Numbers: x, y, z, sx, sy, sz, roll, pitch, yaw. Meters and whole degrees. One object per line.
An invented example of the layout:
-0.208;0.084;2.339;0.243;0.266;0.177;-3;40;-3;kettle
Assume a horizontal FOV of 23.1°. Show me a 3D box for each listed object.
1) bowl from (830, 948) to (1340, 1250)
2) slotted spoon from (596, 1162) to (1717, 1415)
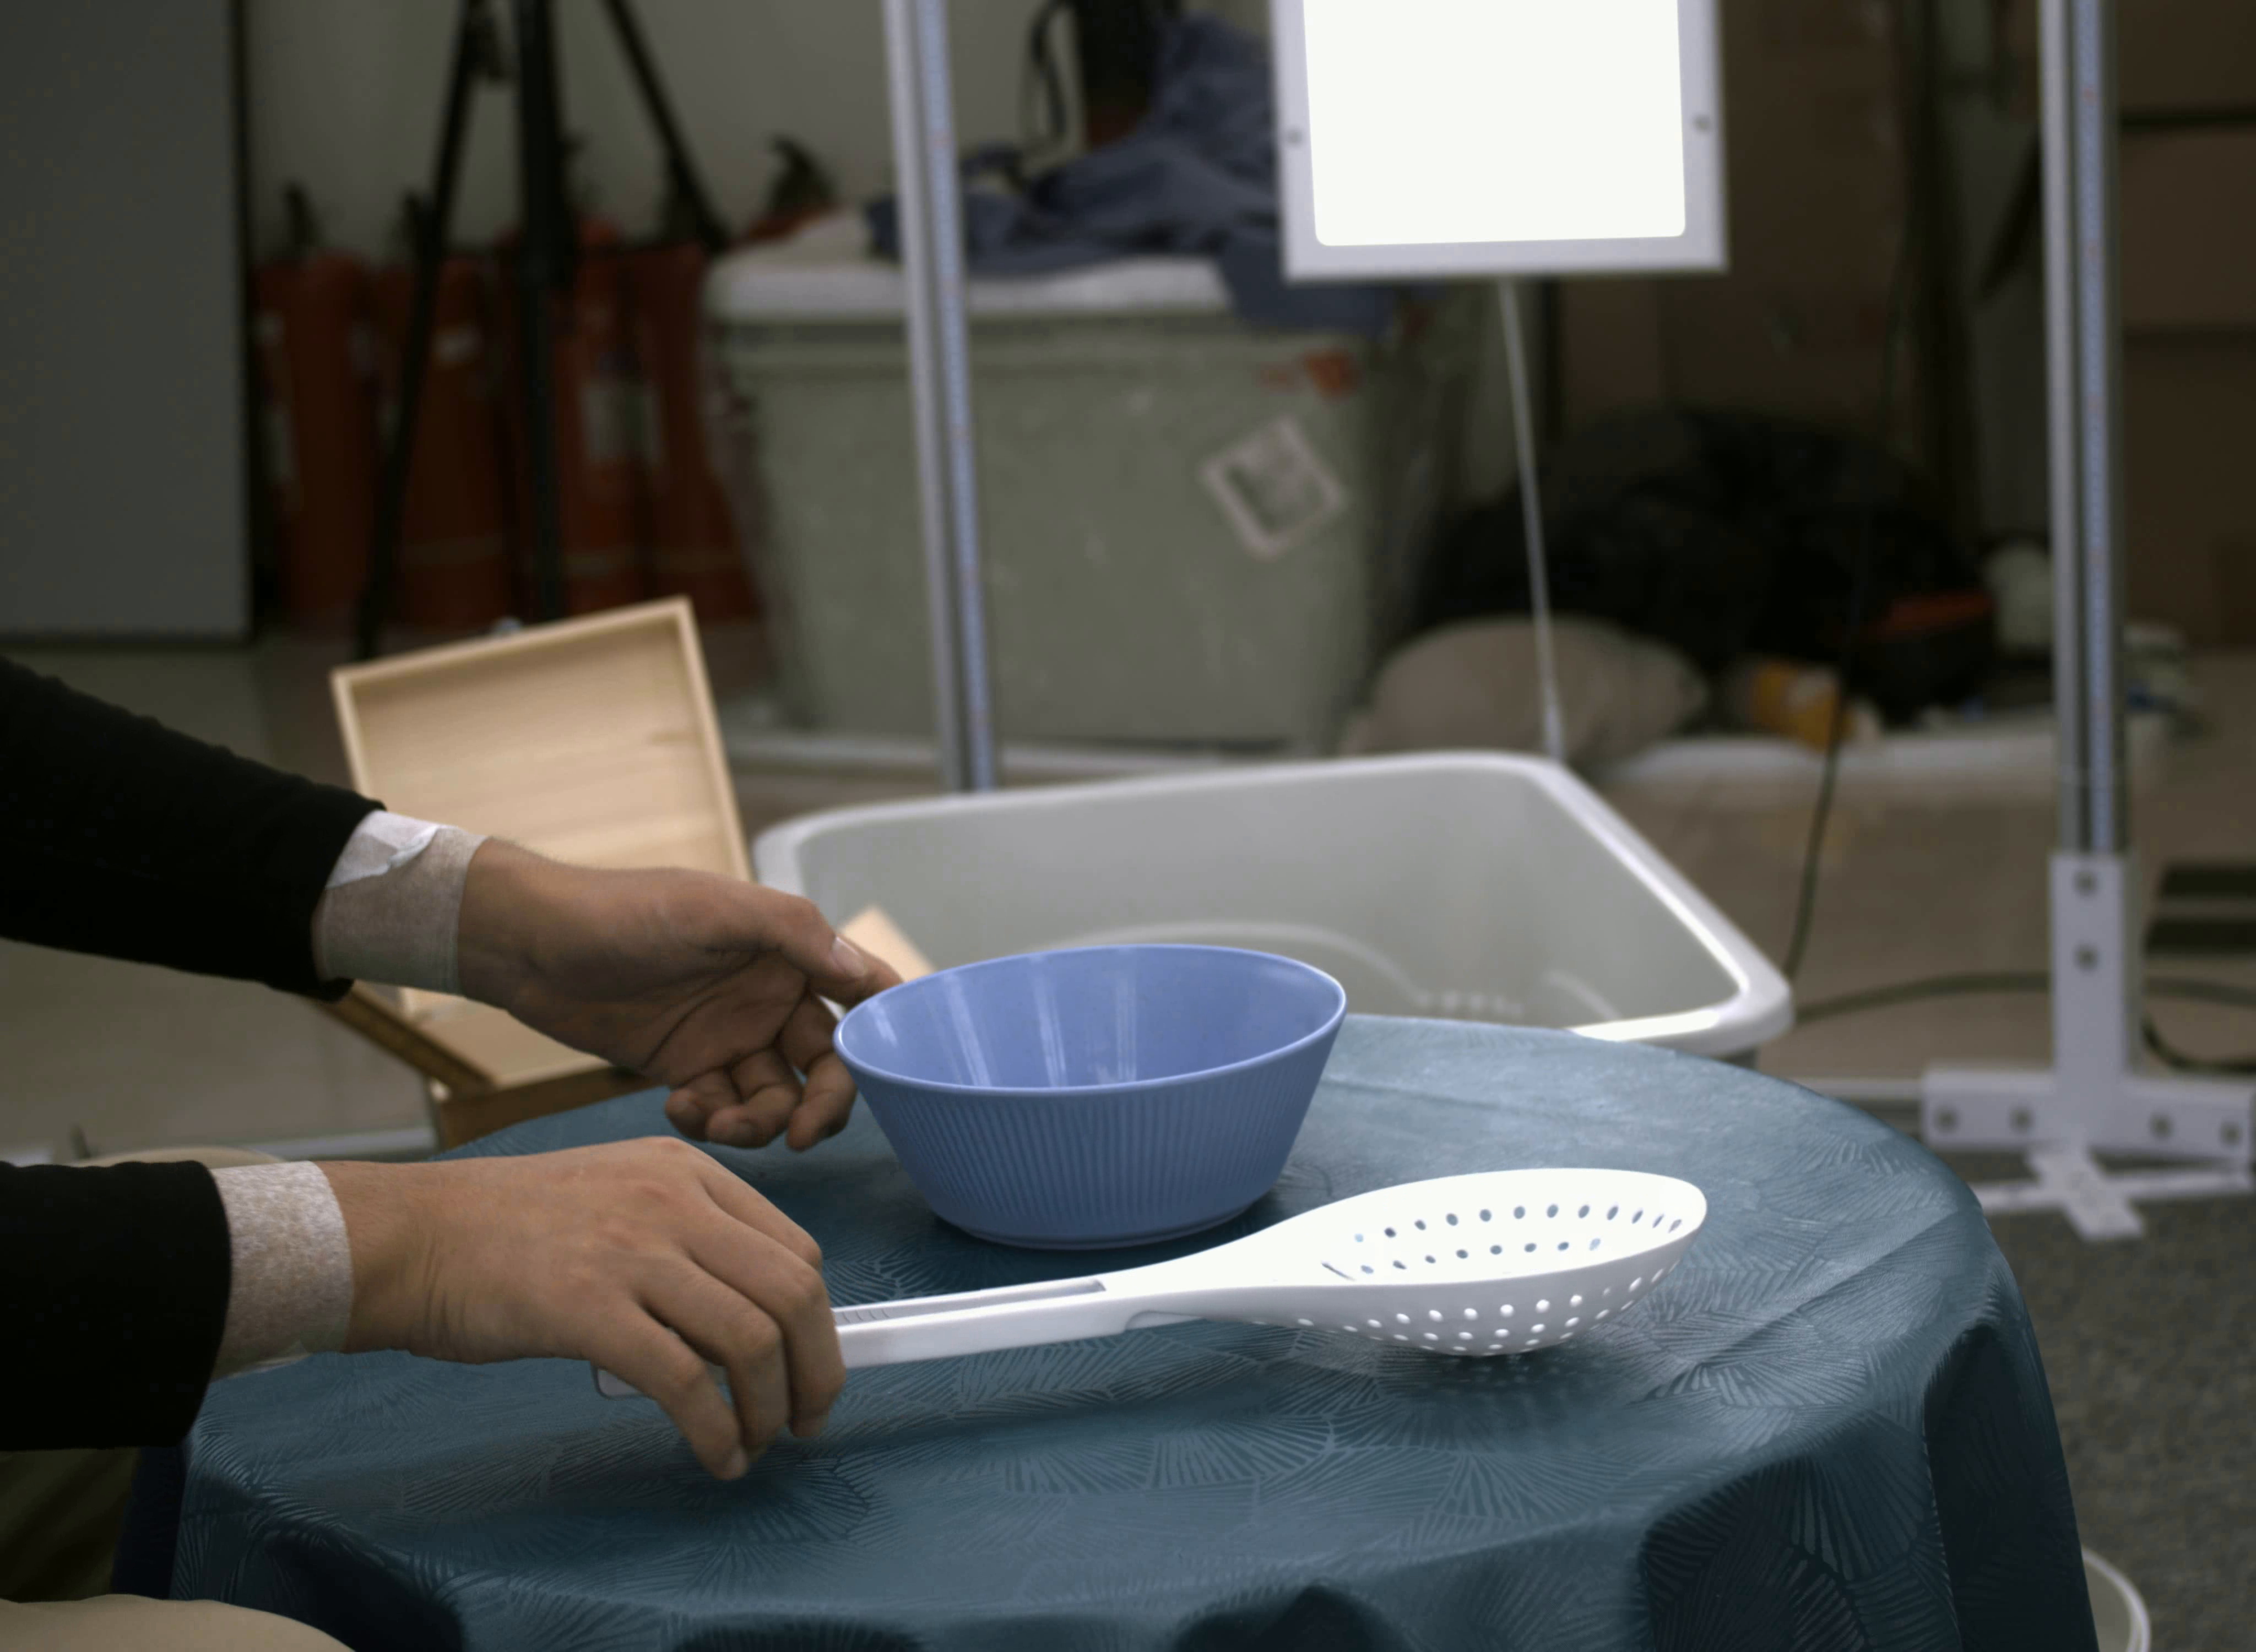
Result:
-0.012;0.096;1.883;0.175;0.070;0.176;-6;14;0;bowl
0.011;0.145;1.693;0.347;0.046;0.136;-4;10;-7;slotted spoon
